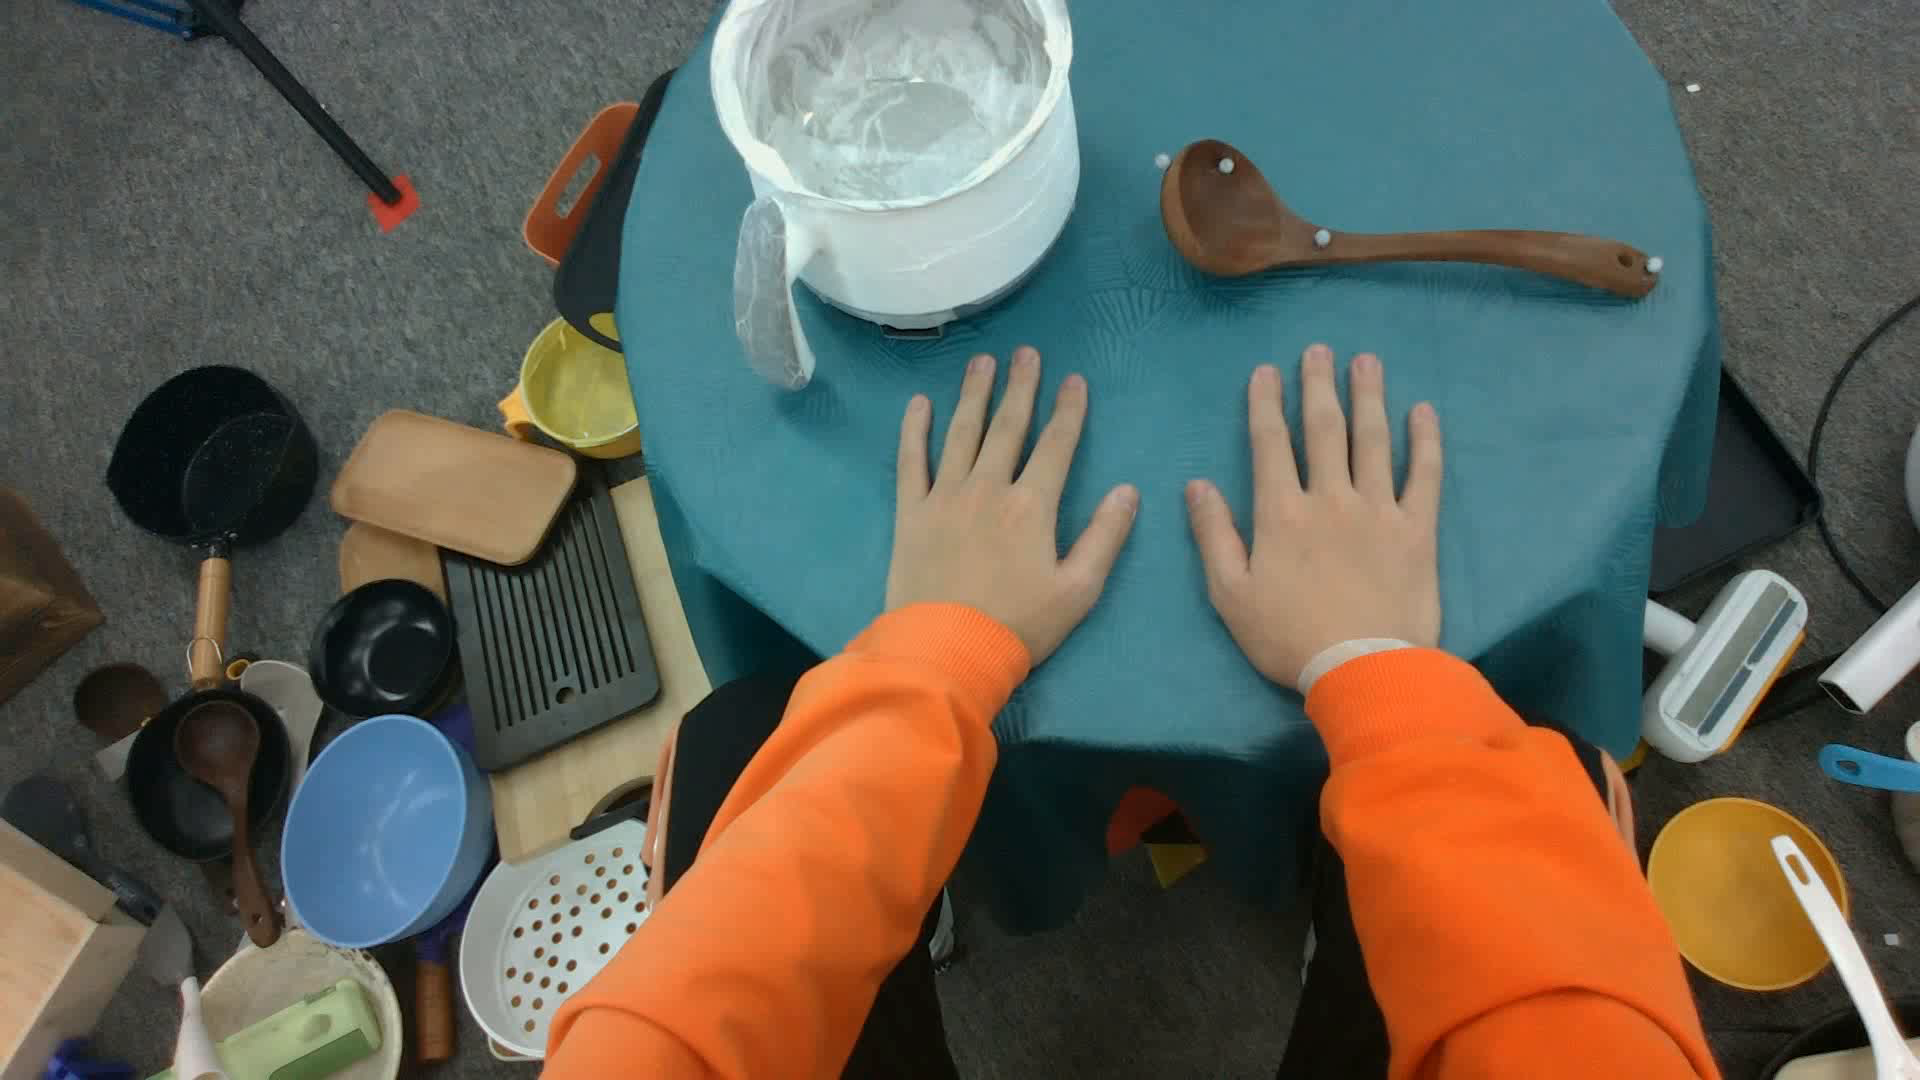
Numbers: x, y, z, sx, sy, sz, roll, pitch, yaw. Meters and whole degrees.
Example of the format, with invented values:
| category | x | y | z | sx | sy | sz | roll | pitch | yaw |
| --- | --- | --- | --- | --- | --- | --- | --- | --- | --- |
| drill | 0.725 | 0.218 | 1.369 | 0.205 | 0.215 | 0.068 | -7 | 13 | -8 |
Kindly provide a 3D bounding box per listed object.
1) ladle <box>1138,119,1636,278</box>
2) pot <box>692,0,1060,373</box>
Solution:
| category | x | y | z | sx | sy | sz | roll | pitch | yaw |
| --- | --- | --- | --- | --- | --- | --- | --- | --- | --- |
| ladle | 0.223 | -0.171 | 0.717 | 0.260 | 0.065 | 0.077 | 8 | 74 | 10 |
| pot | -0.052 | -0.200 | 0.720 | 0.178 | 0.136 | 0.234 | 29 | 76 | 16 |
